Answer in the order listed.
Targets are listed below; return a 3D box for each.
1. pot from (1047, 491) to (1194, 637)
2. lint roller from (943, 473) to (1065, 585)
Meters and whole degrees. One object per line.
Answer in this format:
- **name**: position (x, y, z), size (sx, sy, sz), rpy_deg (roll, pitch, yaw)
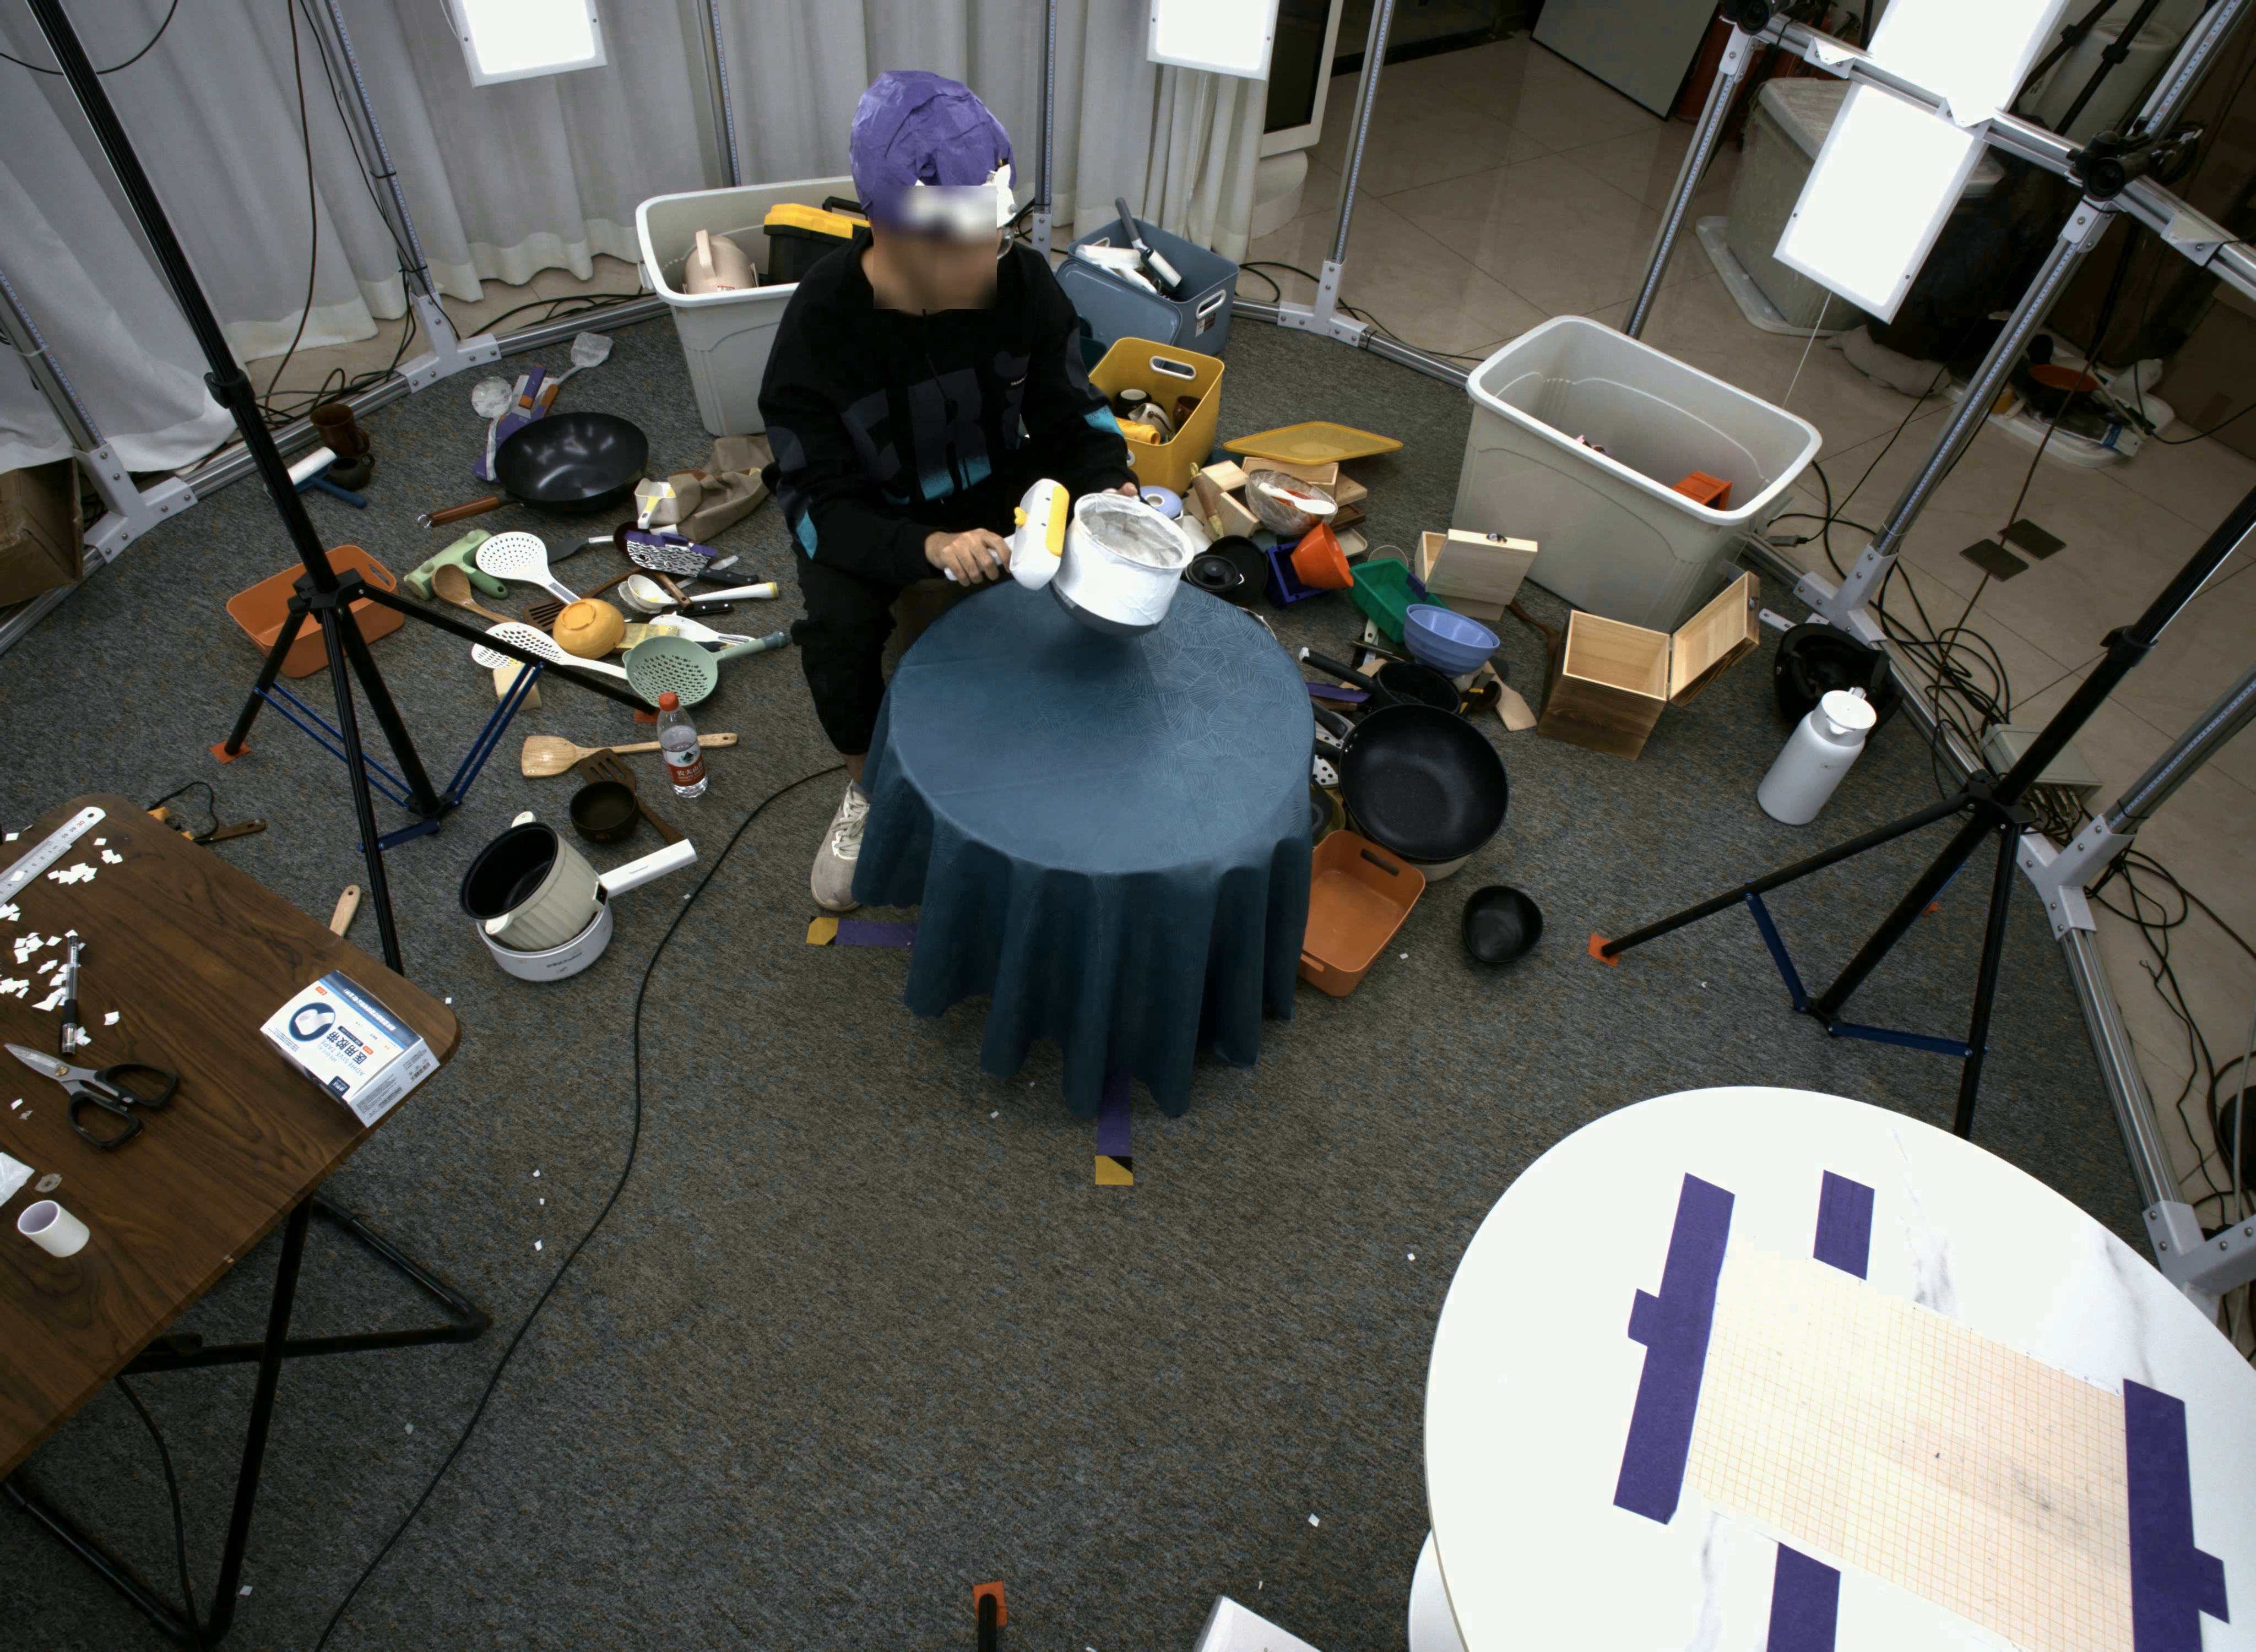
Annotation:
- **pot**: position (-0.015, -0.379, 1.811), size (0.177, 0.134, 0.239), rpy_deg (18, 38, -15)
- **lint roller**: position (-0.169, -0.384, 1.779), size (0.191, 0.073, 0.198), rpy_deg (-30, 42, 28)
